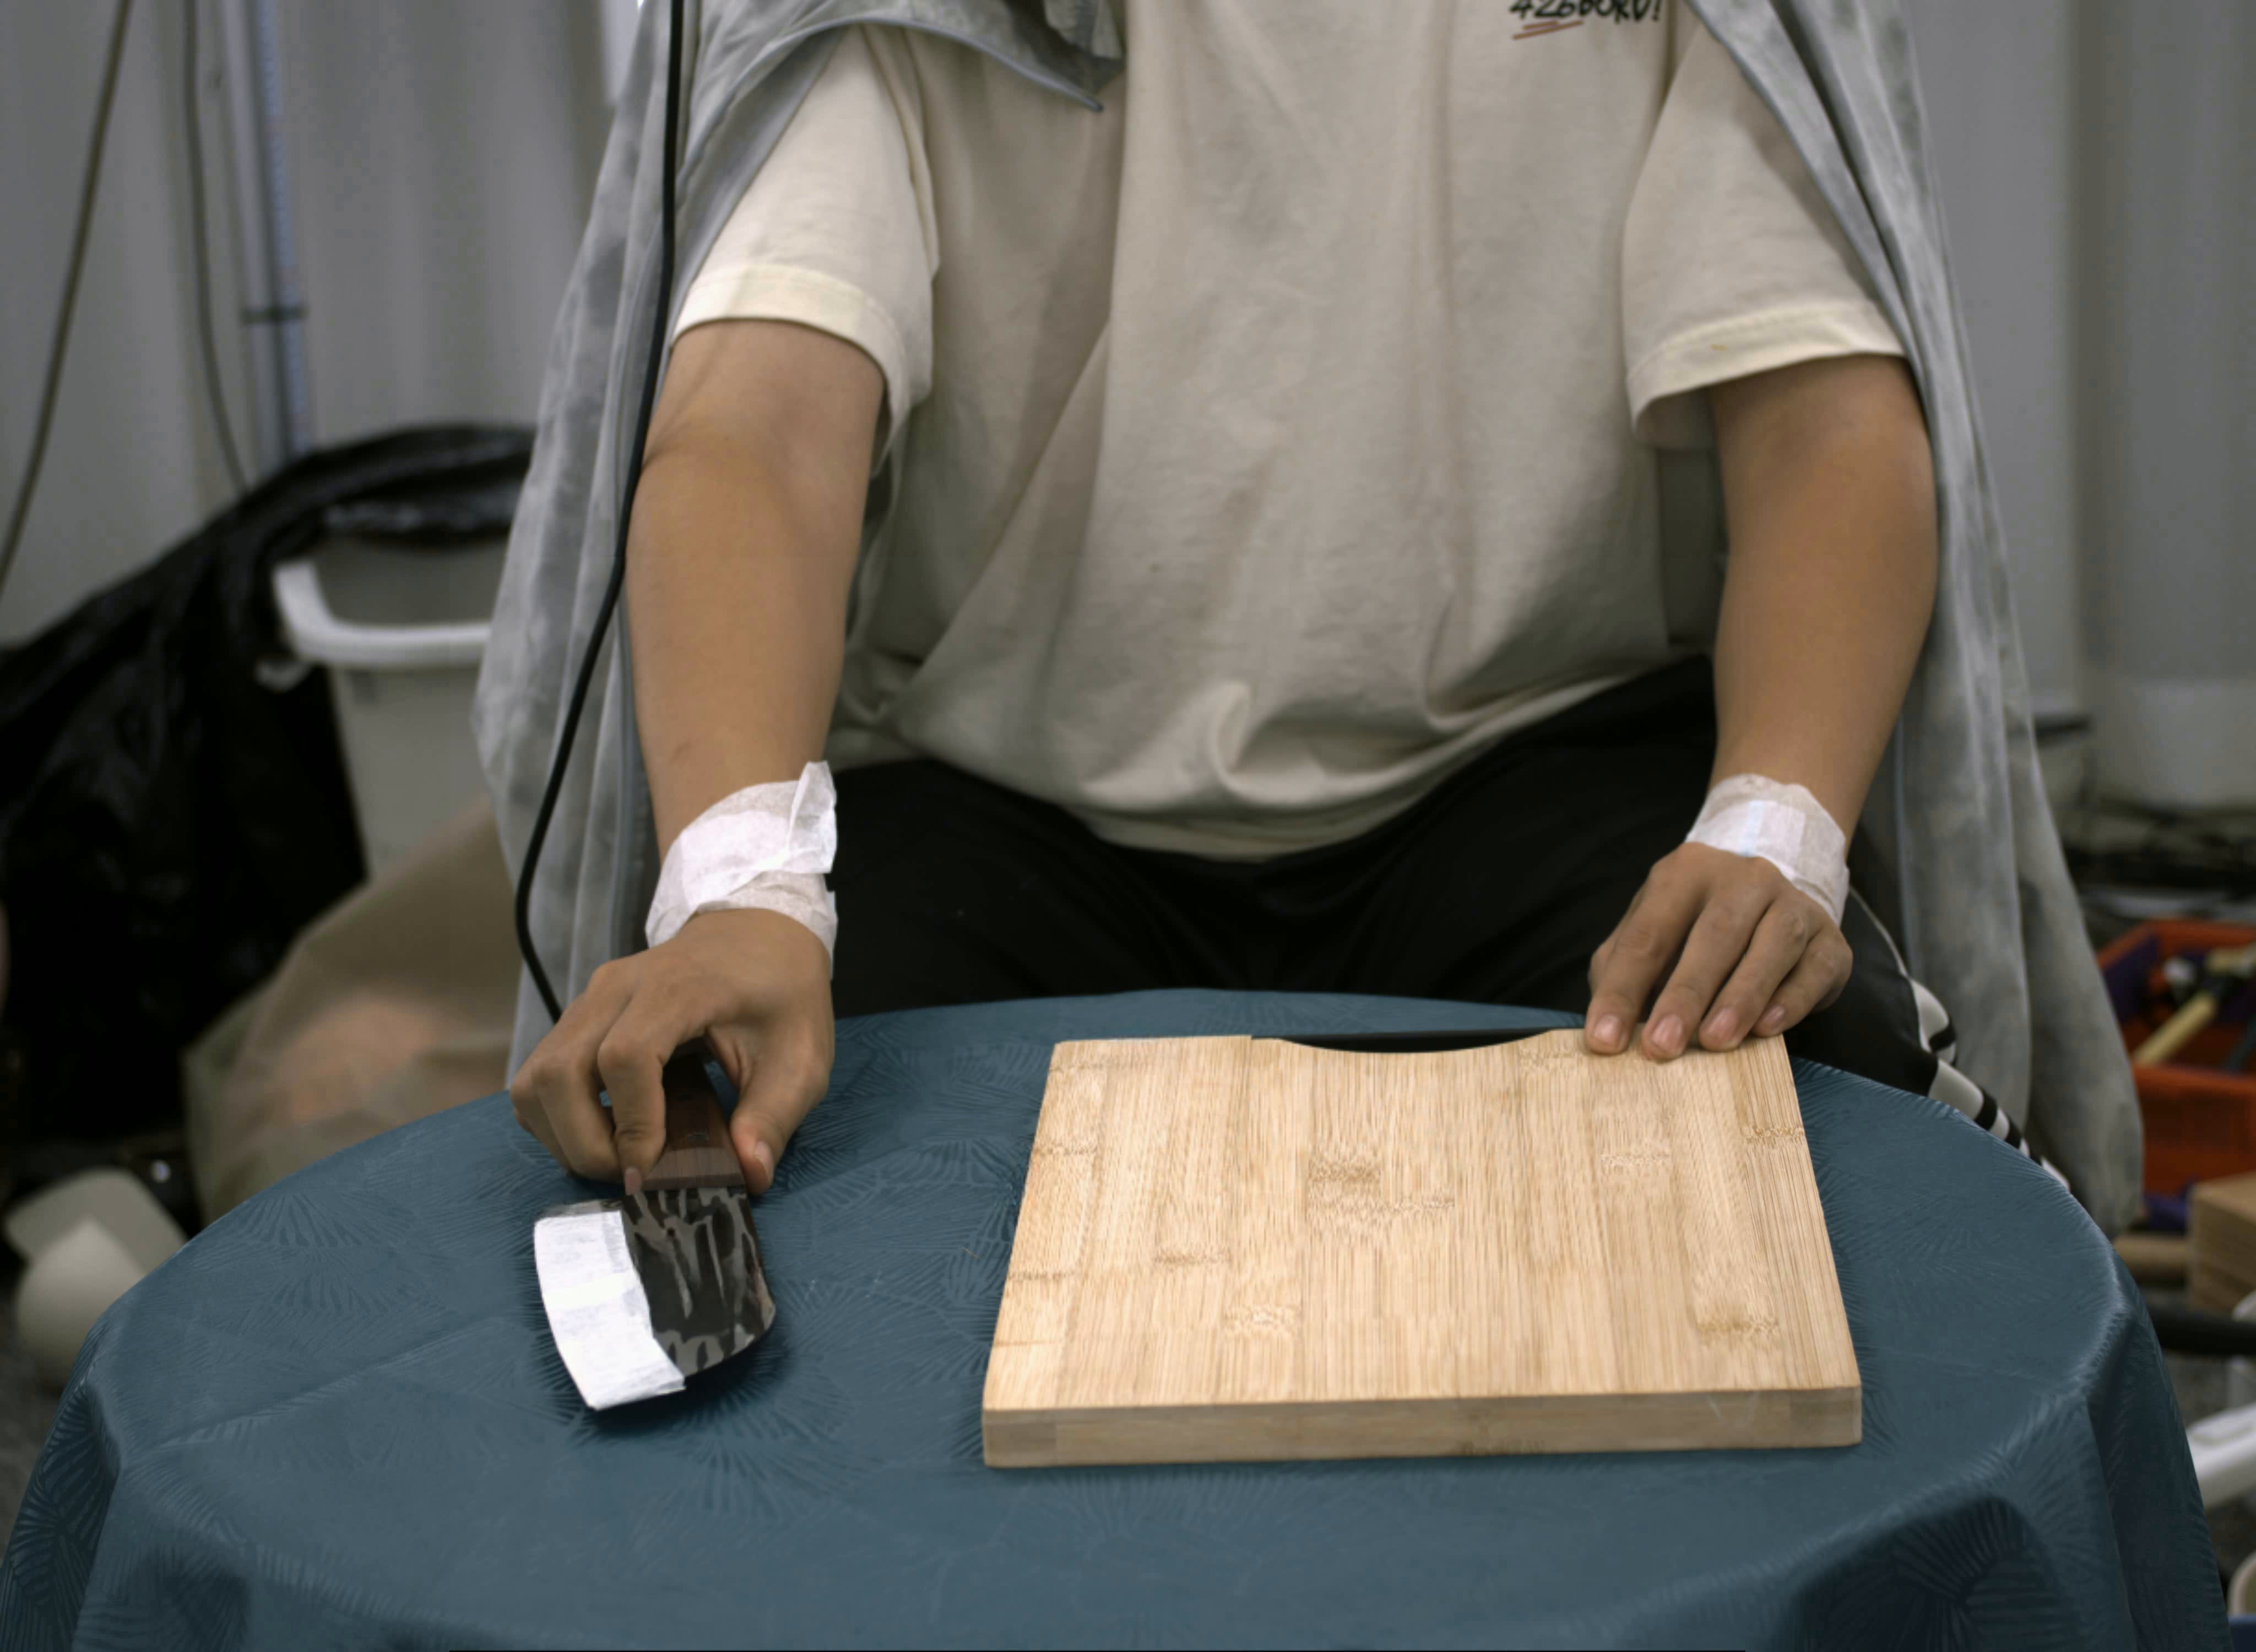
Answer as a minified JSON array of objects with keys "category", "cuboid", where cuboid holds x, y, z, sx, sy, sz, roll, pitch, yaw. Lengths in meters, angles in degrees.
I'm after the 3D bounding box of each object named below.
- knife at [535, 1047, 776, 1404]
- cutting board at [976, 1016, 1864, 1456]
[{"category":"knife","cuboid":[-0.147,0.122,1.674,0.068,0.024,0.302,-6,15,-6]},{"category":"cutting board","cuboid":[0.088,0.120,1.654,0.250,0.023,0.351,-2,15,2]}]
